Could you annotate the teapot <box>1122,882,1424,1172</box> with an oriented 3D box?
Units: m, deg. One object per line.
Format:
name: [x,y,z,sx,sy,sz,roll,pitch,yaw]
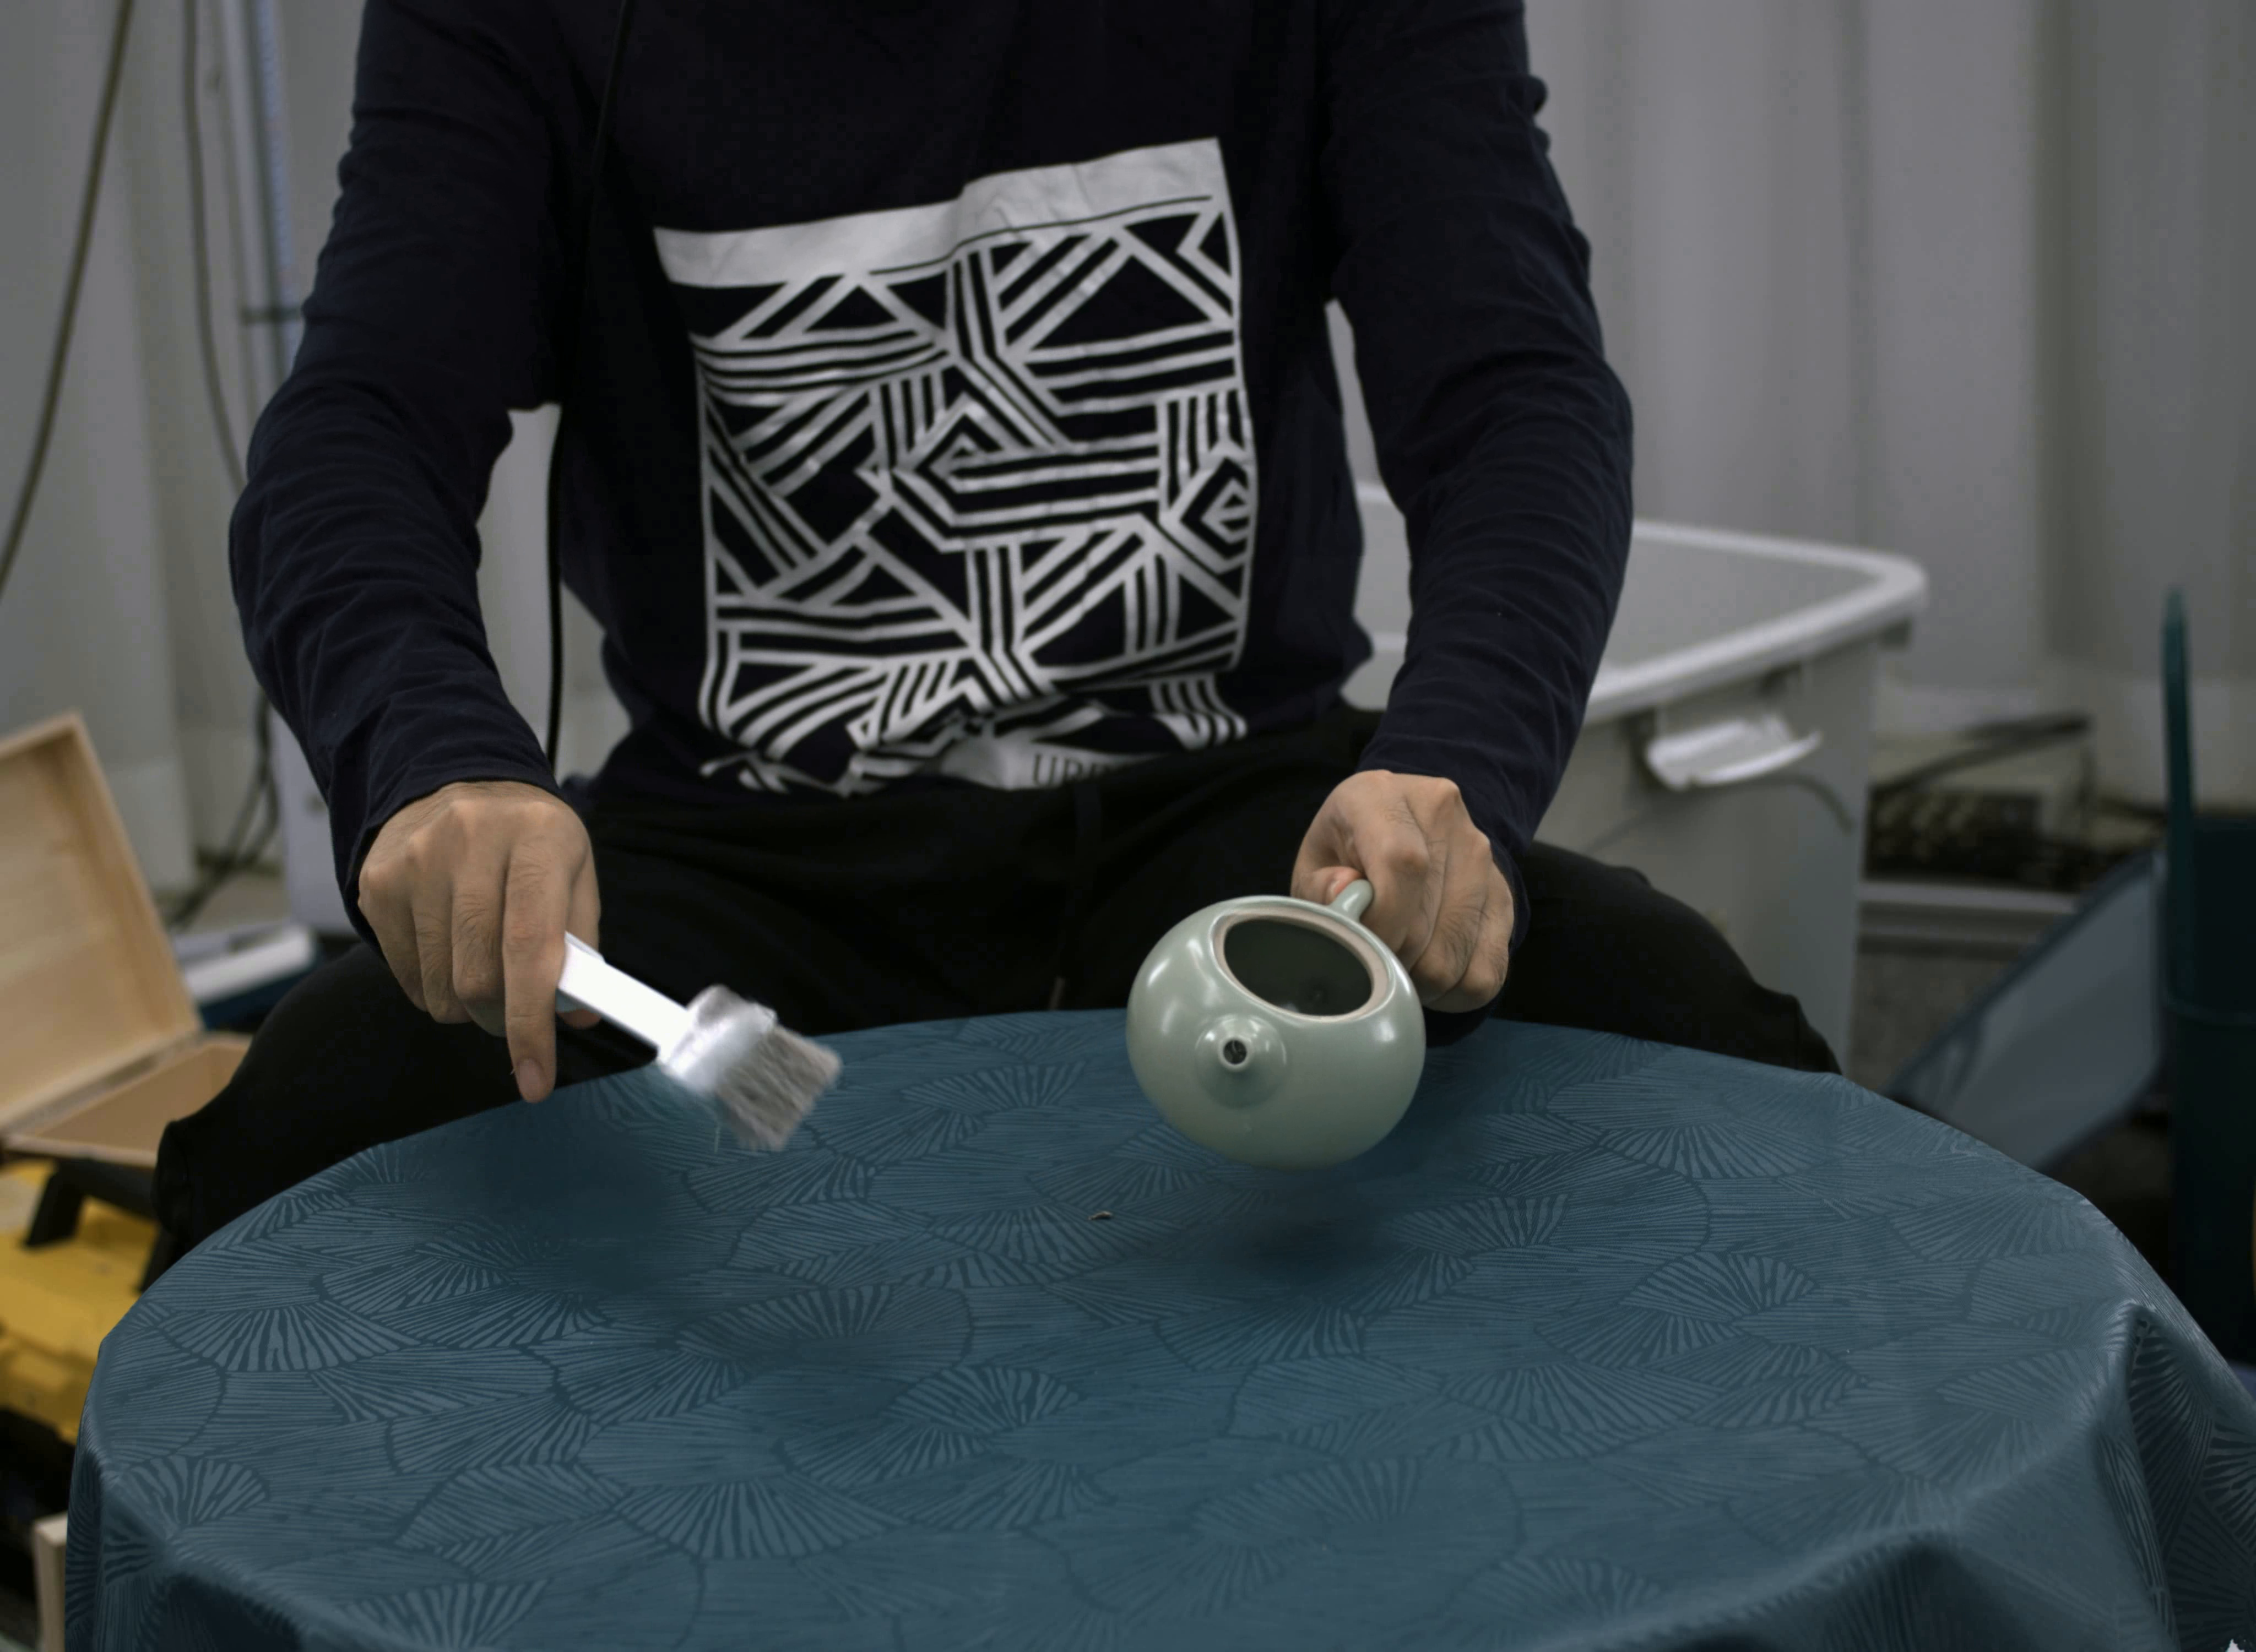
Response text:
teapot: [0.048,0.059,1.655,0.092,0.060,0.129,24,35,19]

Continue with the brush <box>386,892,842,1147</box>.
brush: [-0.156,0.058,1.654,0.049,0.034,0.245,41,-14,-30]
